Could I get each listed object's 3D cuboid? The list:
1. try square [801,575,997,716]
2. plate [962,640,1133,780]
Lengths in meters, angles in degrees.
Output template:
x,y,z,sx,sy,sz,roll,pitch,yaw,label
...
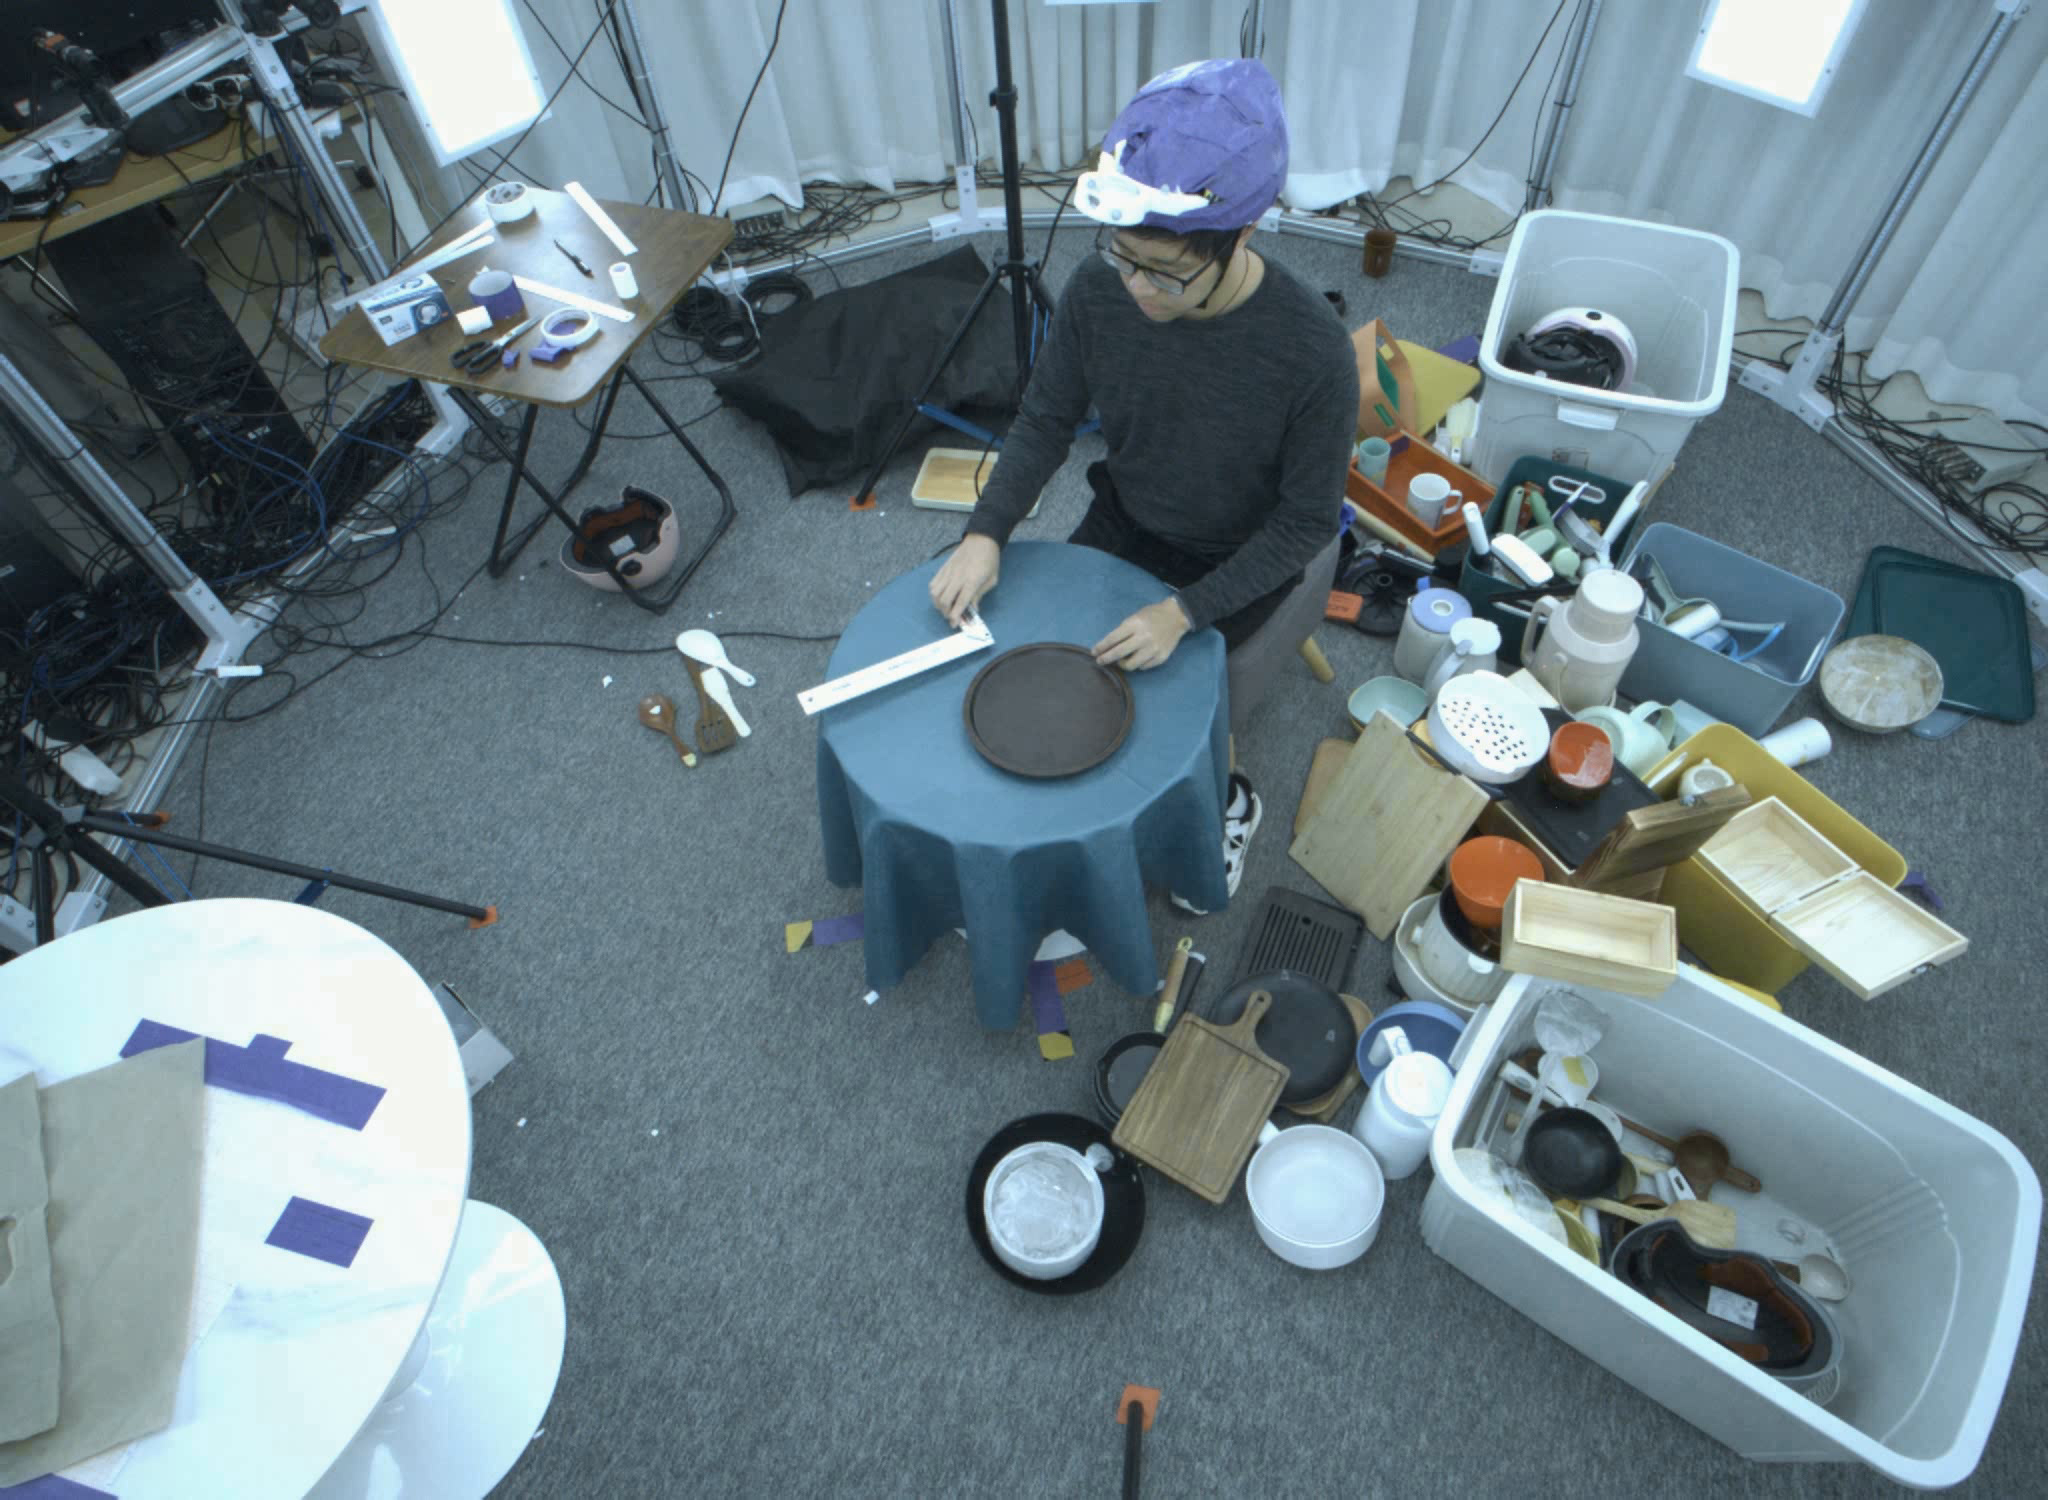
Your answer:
x,y,z,sx,sy,sz,roll,pitch,yaw,label
-0.211,-0.164,1.873,0.316,0.016,0.149,-23,61,-18,try square
0.035,-0.059,1.814,0.254,0.029,0.252,-1,55,3,plate
